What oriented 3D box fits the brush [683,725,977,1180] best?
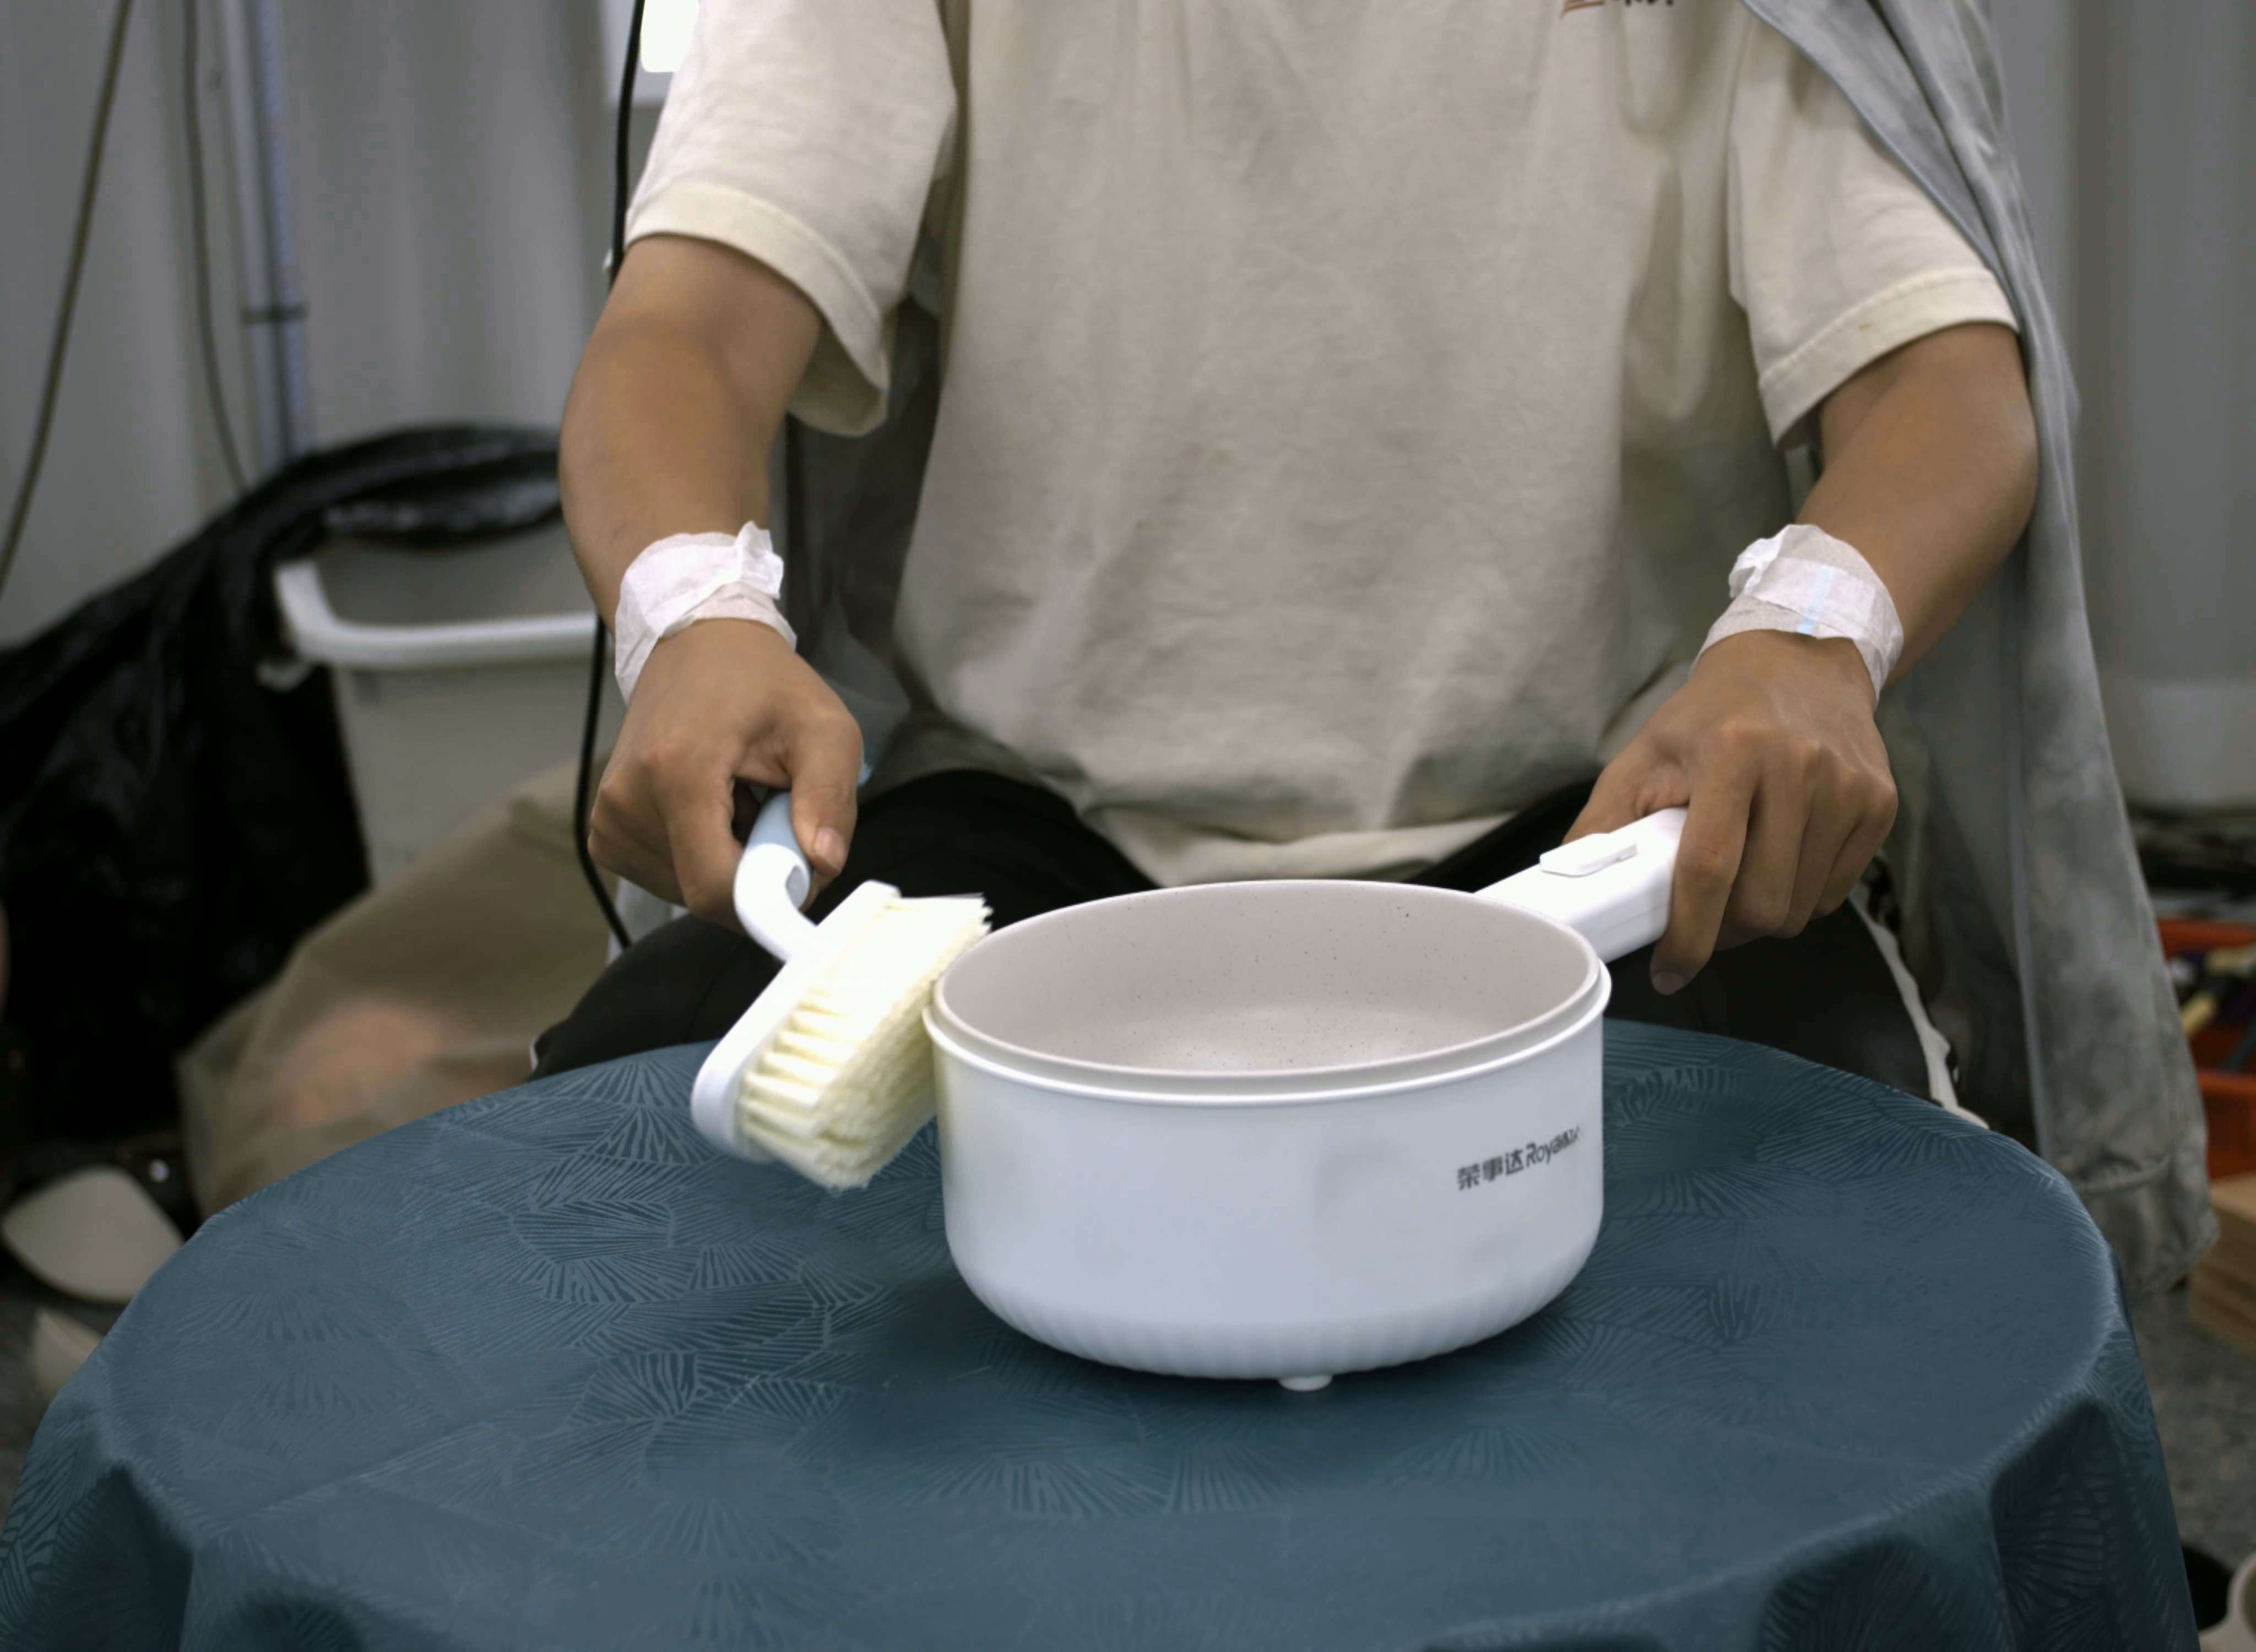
[{"bbox_3d":[-0.076,0.028,1.696,0.083,0.084,0.328,-40,11,15],"label":"brush"}]

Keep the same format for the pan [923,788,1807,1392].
[{"bbox_3d":[0.091,0.074,1.660,0.202,0.101,0.354,10,19,39],"label":"pan"}]
